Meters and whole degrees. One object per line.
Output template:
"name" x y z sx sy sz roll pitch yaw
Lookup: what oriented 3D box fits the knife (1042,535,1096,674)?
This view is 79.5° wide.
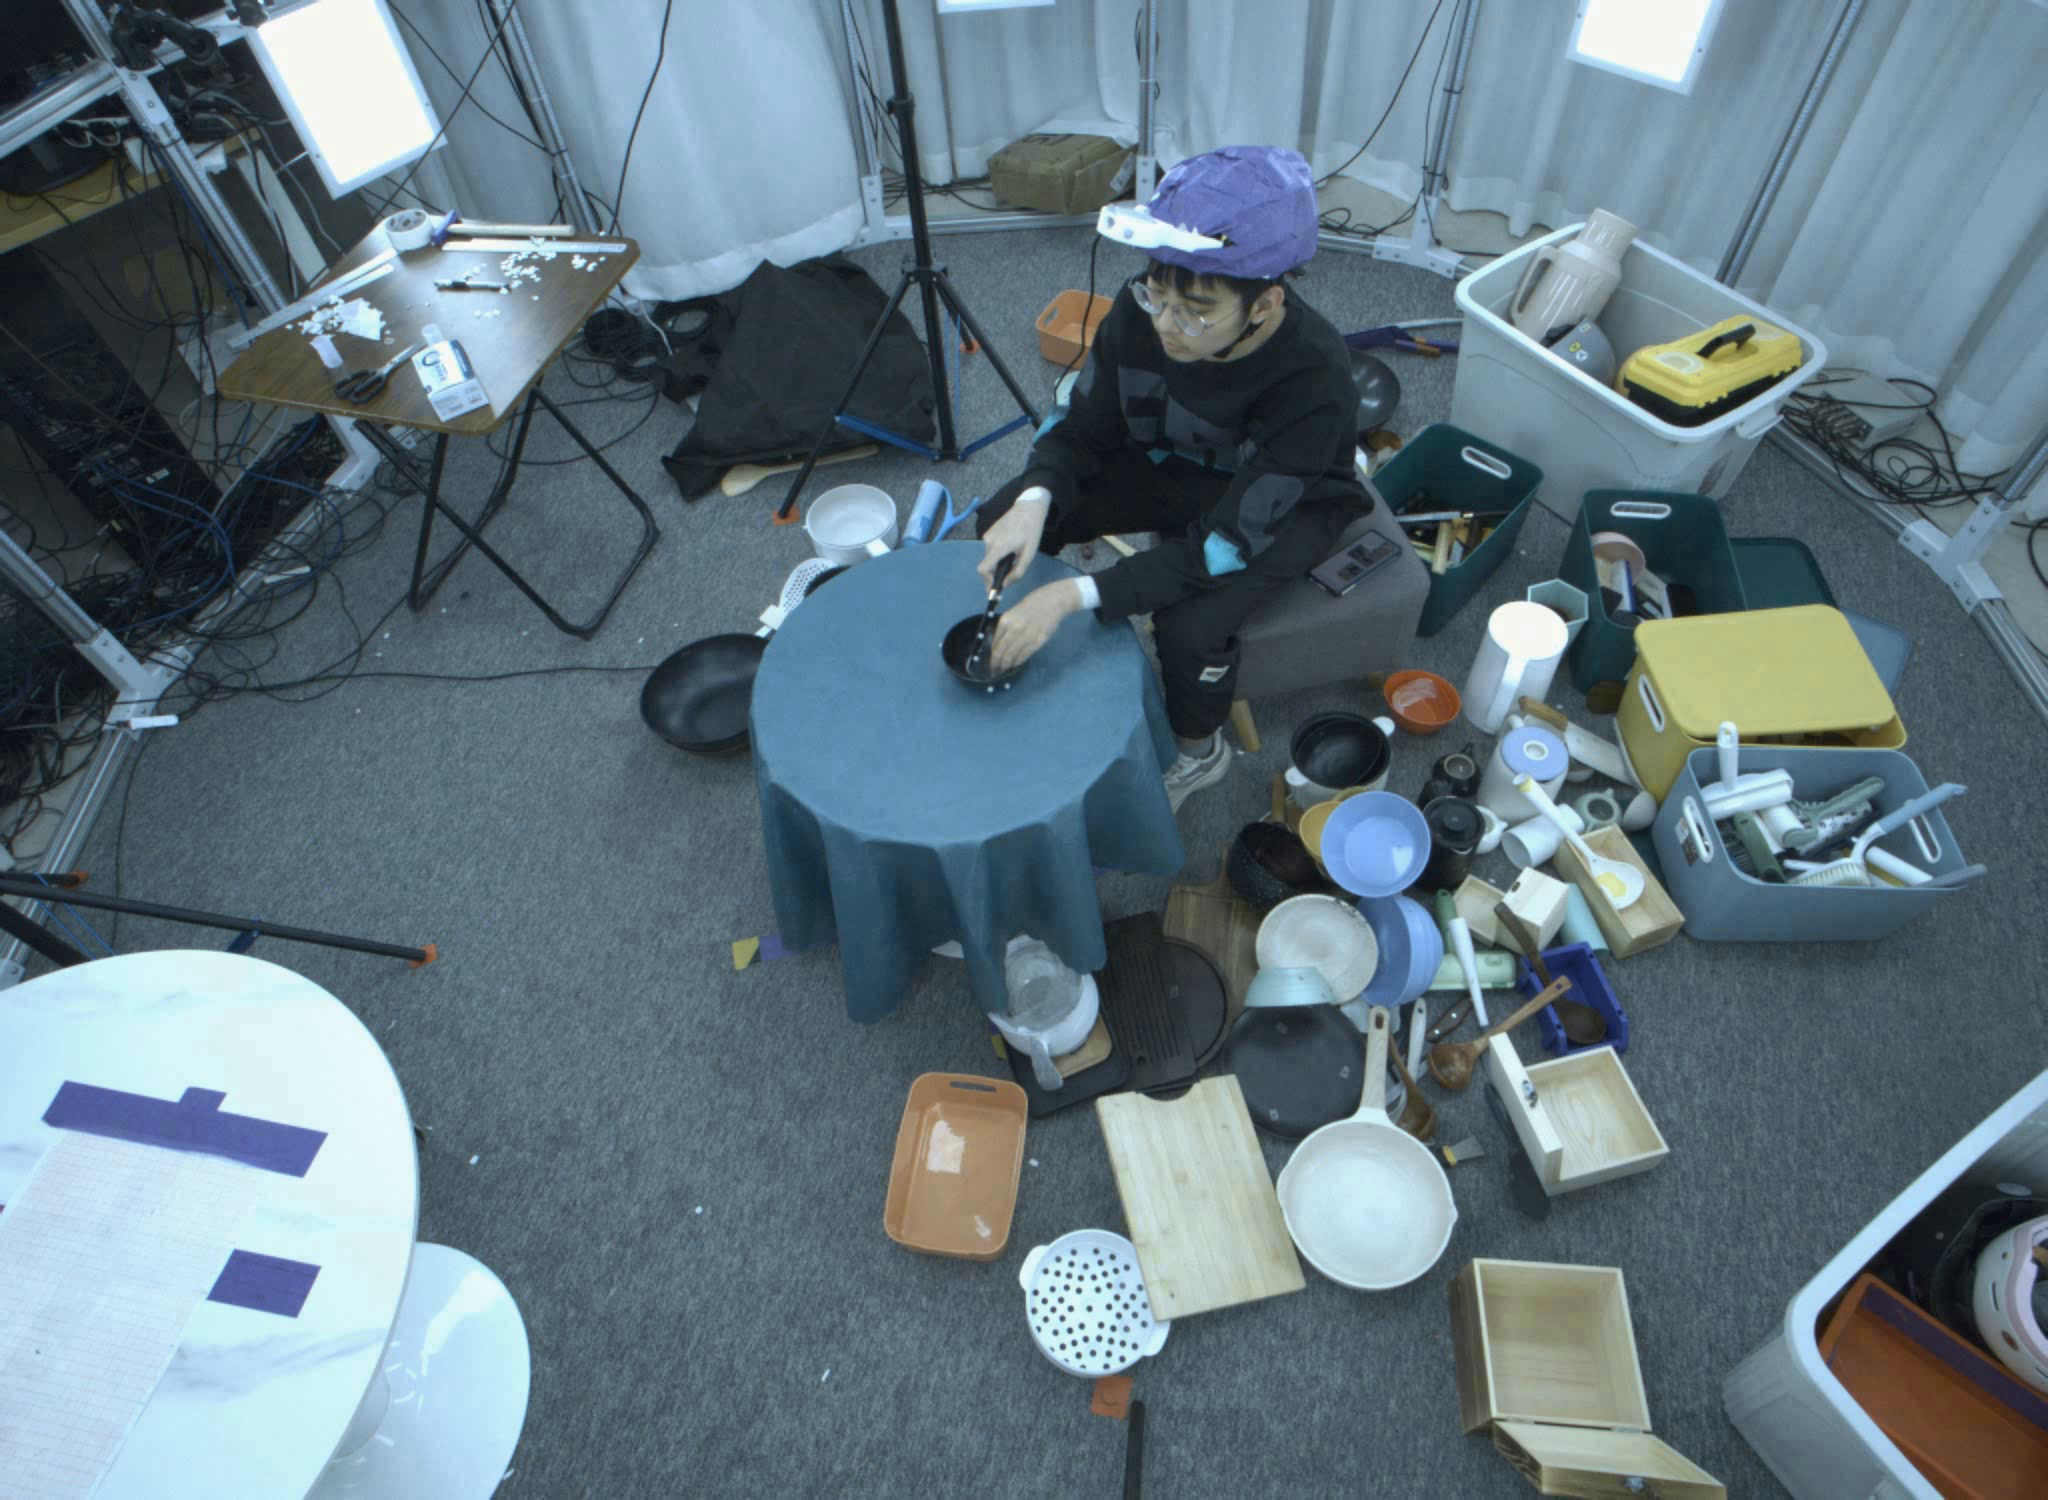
"knife" 0.065 -0.220 1.851 0.017 0.027 0.225 17 81 27

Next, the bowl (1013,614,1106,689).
"bowl" 0.054 -0.140 1.857 0.140 0.050 0.138 0 51 1
